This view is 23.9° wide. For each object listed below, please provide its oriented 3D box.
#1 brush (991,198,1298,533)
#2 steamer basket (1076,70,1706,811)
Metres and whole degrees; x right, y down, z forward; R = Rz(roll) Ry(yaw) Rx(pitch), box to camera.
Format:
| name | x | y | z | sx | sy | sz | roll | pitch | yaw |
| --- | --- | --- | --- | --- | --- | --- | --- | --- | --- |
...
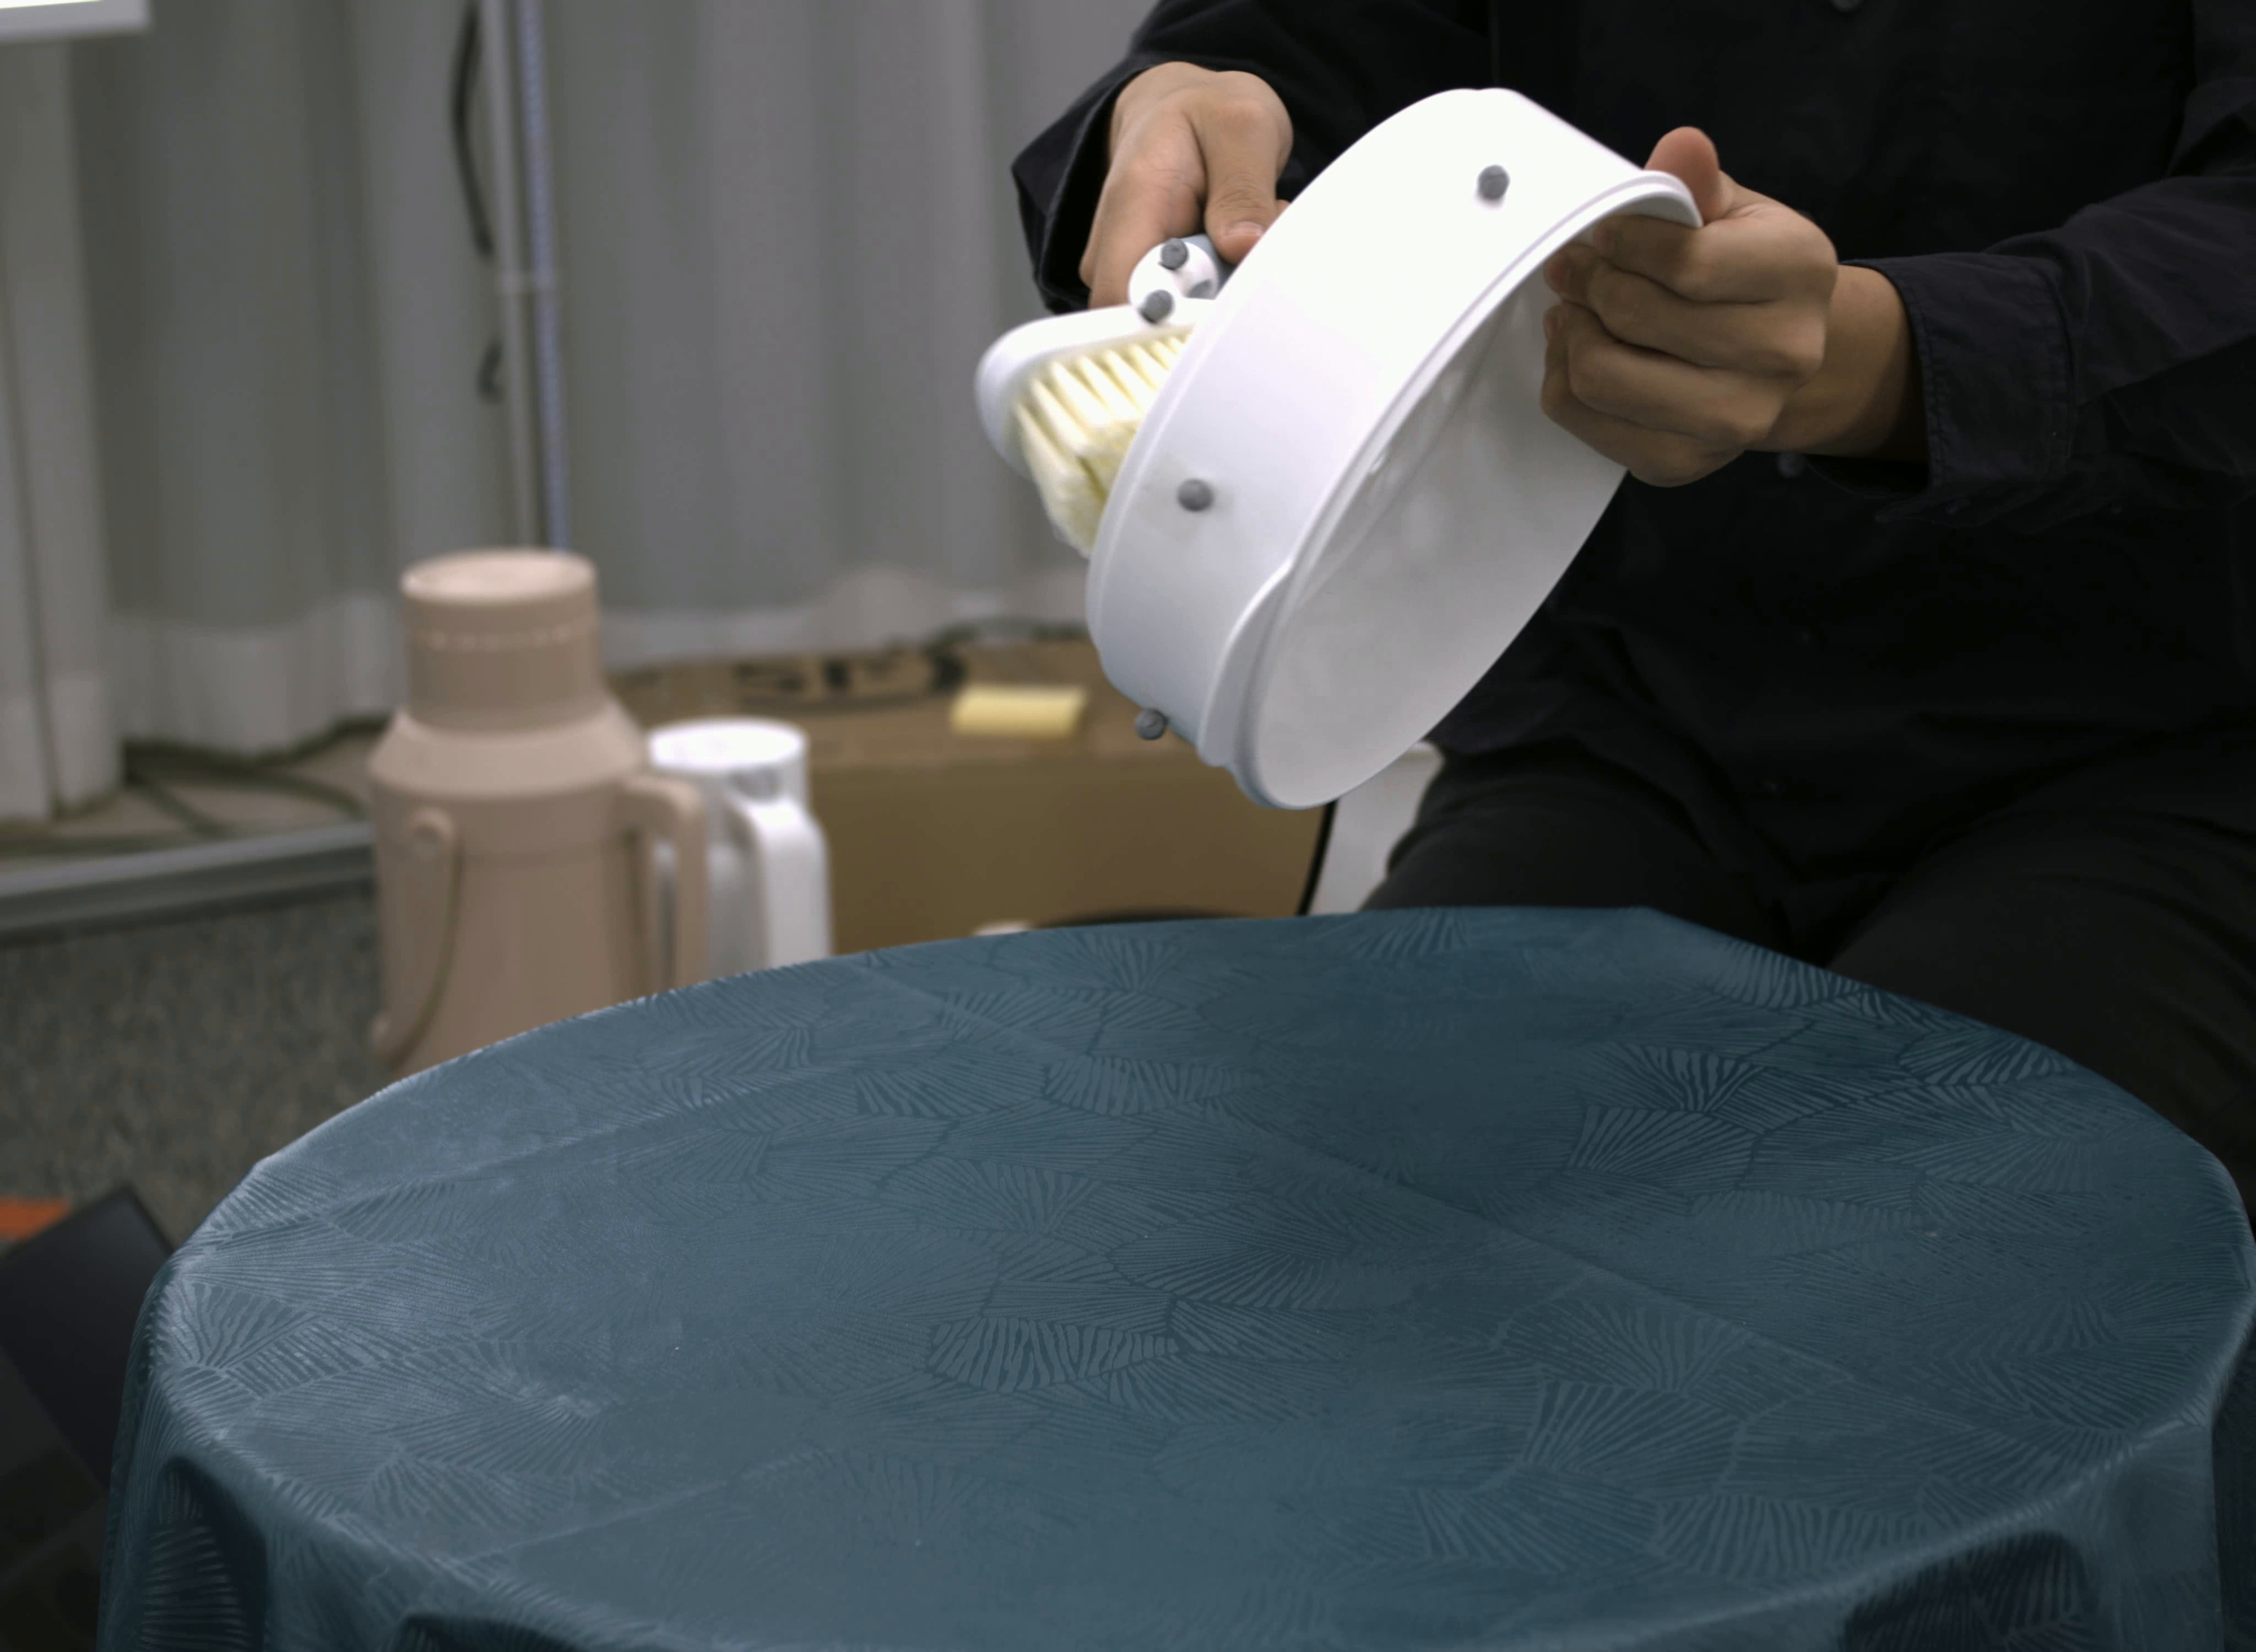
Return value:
| name | x | y | z | sx | sy | sz | roll | pitch | yaw |
| --- | --- | --- | --- | --- | --- | --- | --- | --- | --- |
| brush | 0.042 | -0.132 | 1.532 | 0.084 | 0.084 | 0.322 | -9 | 8 | 18 |
| steamer basket | 0.067 | -0.103 | 1.424 | 0.070 | 0.202 | 0.227 | 36 | 49 | 18 |
